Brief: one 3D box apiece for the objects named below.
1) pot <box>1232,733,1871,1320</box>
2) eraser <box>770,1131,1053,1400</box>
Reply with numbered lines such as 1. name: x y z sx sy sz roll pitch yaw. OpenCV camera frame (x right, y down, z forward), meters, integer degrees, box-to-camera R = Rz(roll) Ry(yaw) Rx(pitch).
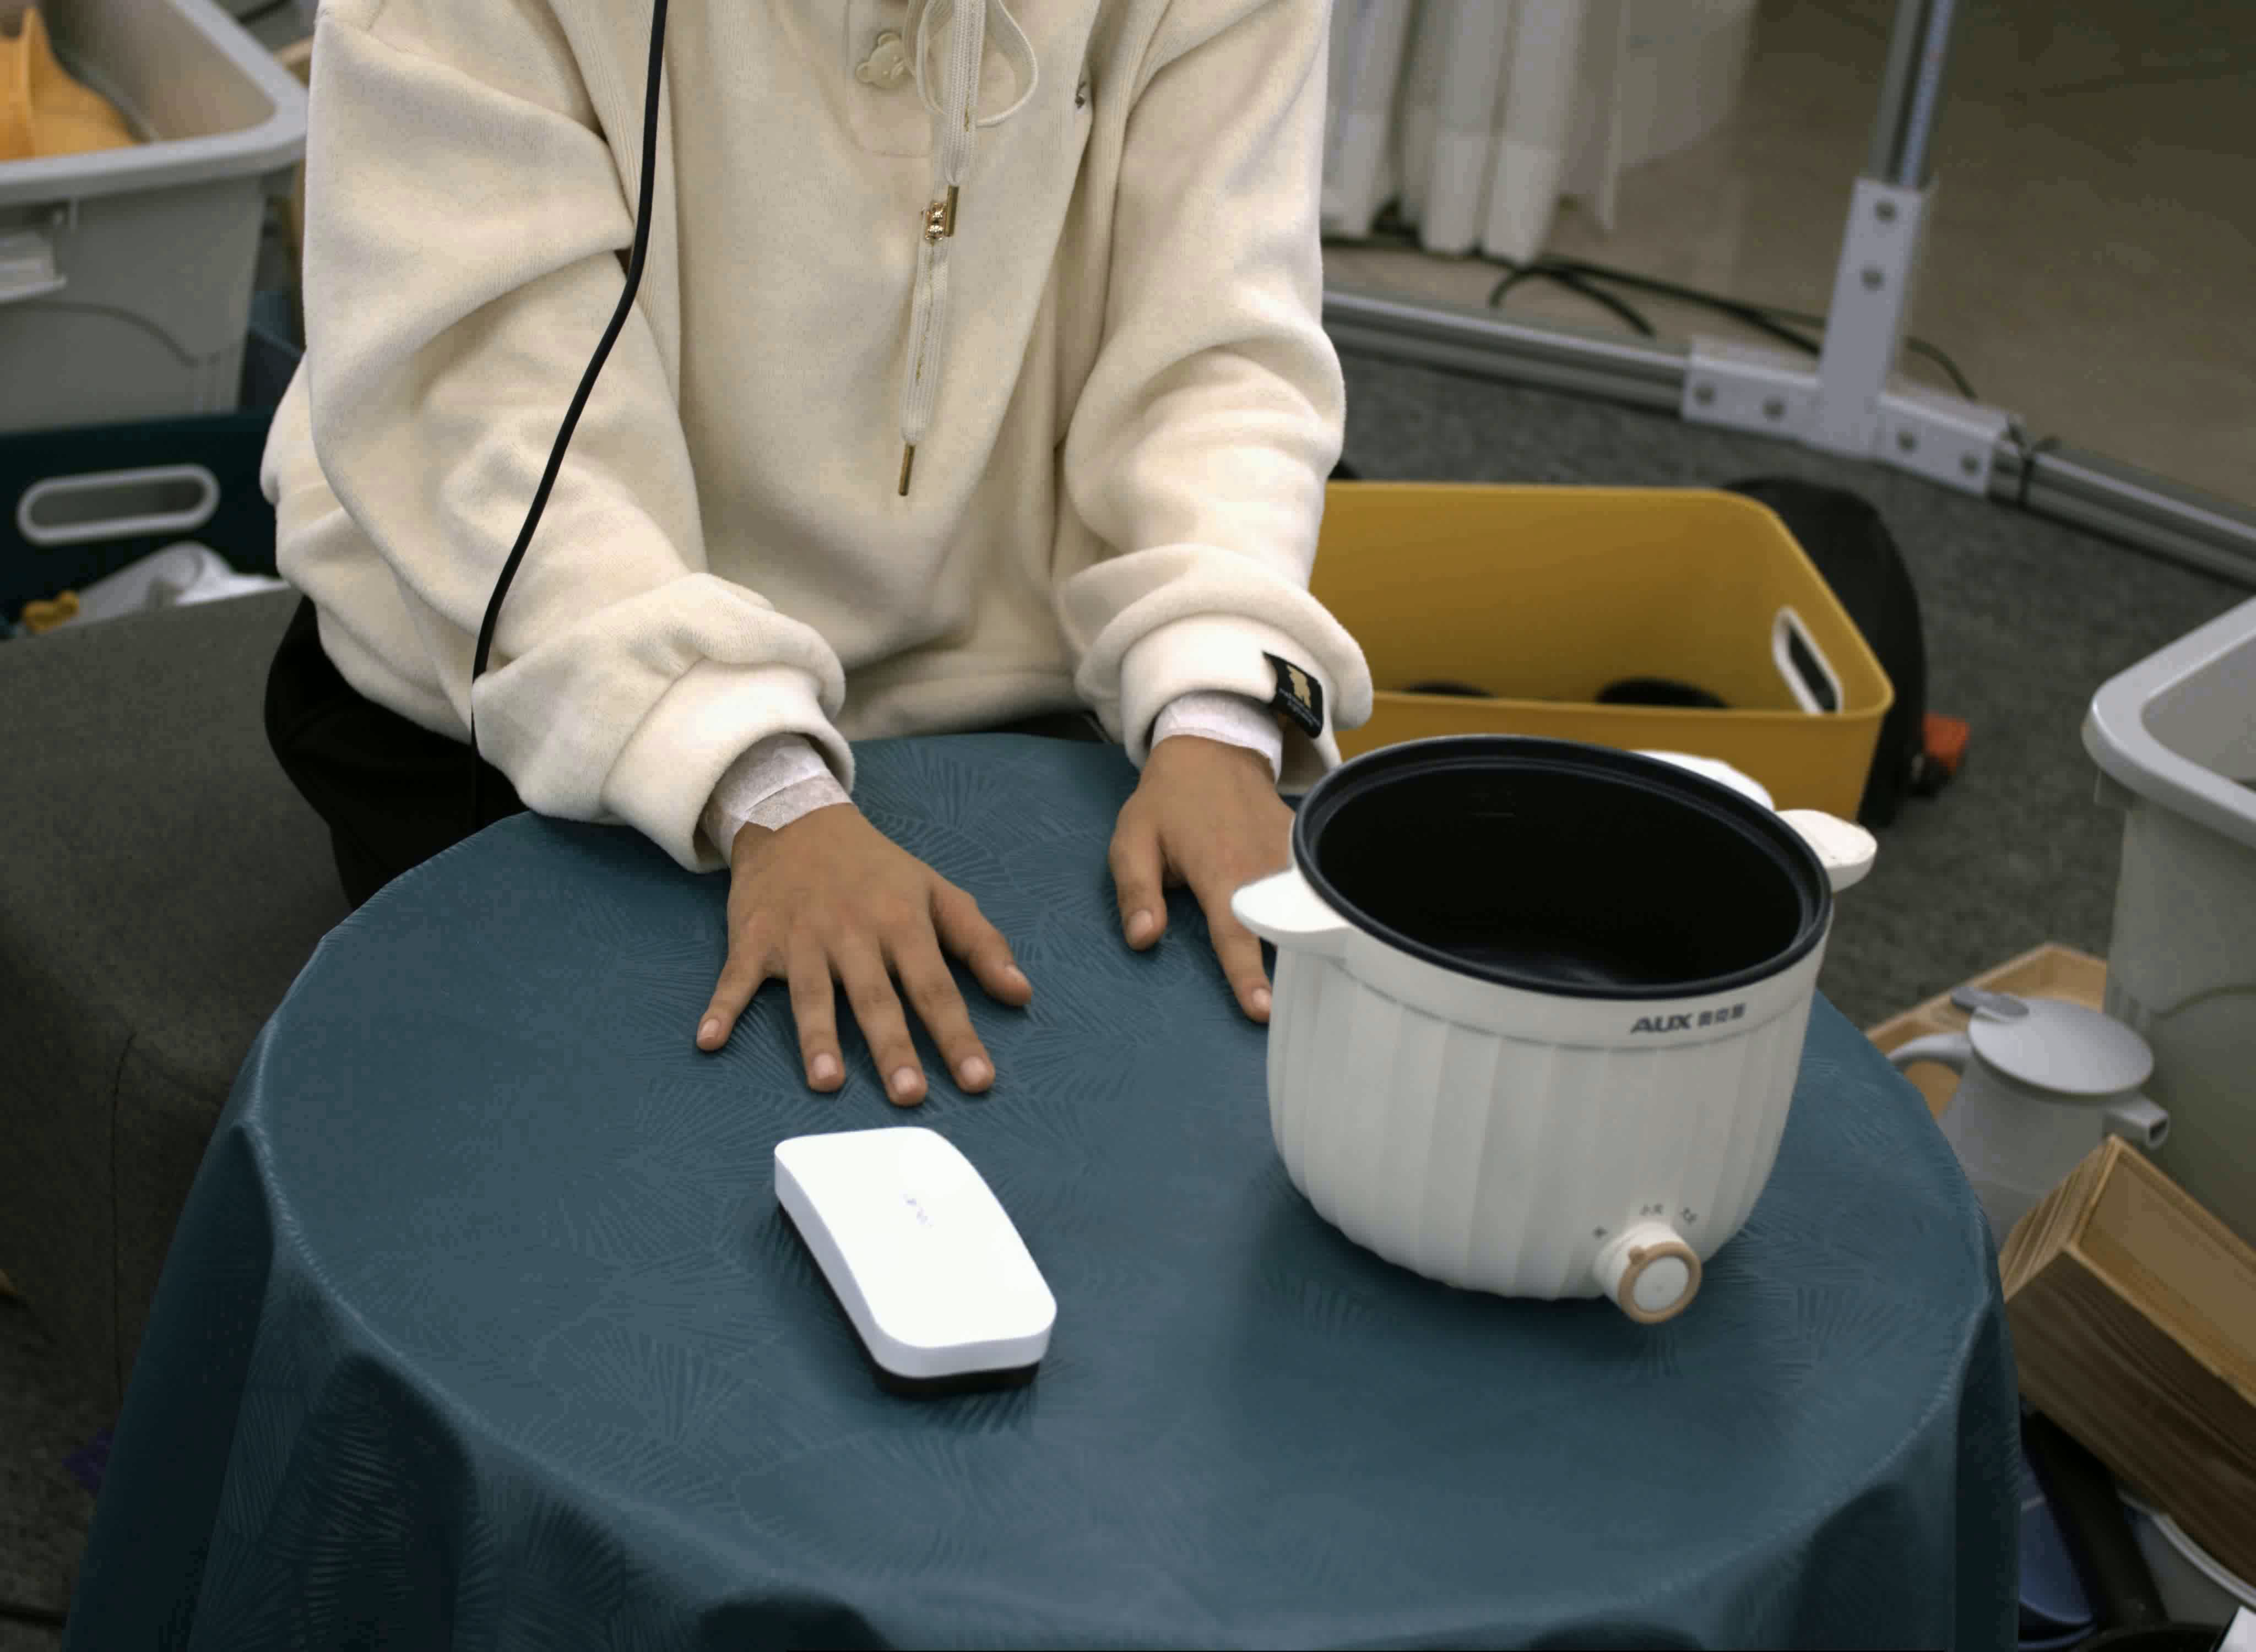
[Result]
1. pot: 0.140 0.070 1.784 0.239 0.142 0.192 -8 27 -24
2. eraser: -0.071 0.138 1.724 0.063 0.034 0.132 -2 28 -22
